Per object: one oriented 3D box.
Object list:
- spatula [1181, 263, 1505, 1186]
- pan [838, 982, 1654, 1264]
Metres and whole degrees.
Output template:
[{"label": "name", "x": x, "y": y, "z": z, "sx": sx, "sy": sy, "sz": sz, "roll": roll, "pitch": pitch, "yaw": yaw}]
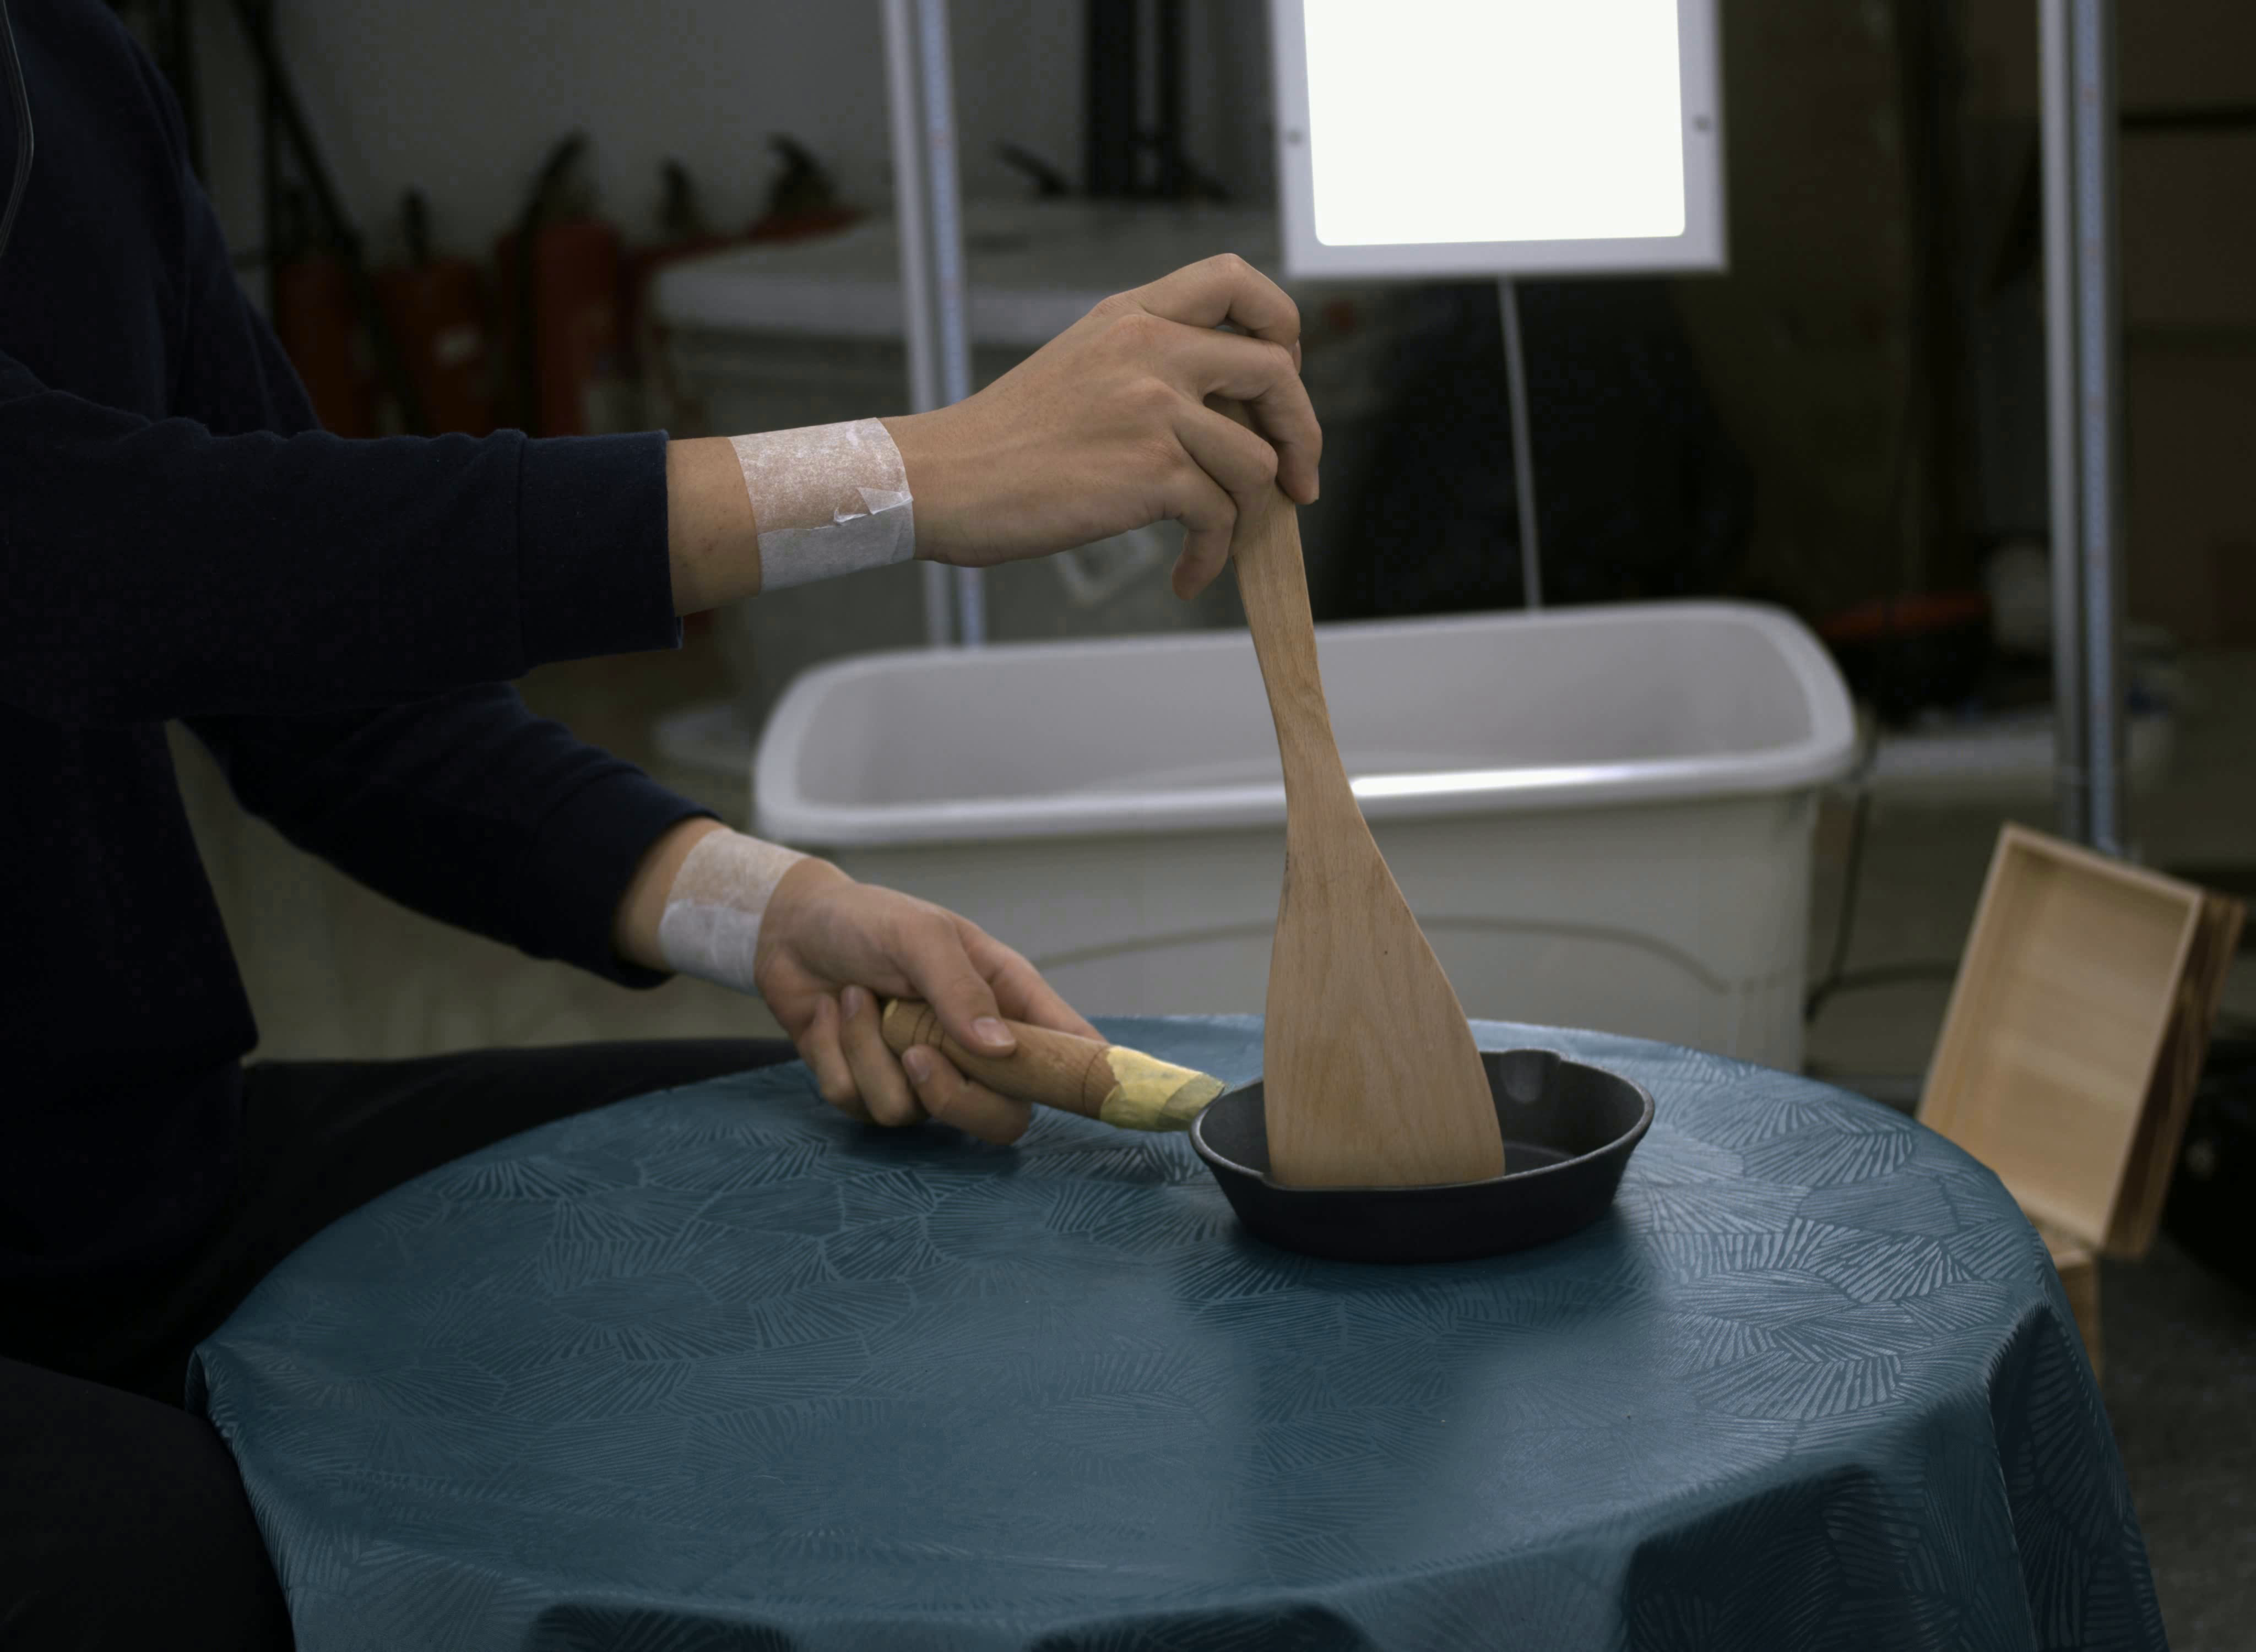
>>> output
[{"label": "spatula", "x": 0.059, "y": -0.023, "z": 1.809, "sx": 0.080, "sy": 0.328, "sz": 0.016, "roll": -11, "pitch": 6, "yaw": 4}, {"label": "pan", "x": 0.031, "y": 0.097, "z": 1.901, "sx": 0.331, "sy": 0.050, "sz": 0.165, "roll": 7, "pitch": 18, "yaw": 37}]
